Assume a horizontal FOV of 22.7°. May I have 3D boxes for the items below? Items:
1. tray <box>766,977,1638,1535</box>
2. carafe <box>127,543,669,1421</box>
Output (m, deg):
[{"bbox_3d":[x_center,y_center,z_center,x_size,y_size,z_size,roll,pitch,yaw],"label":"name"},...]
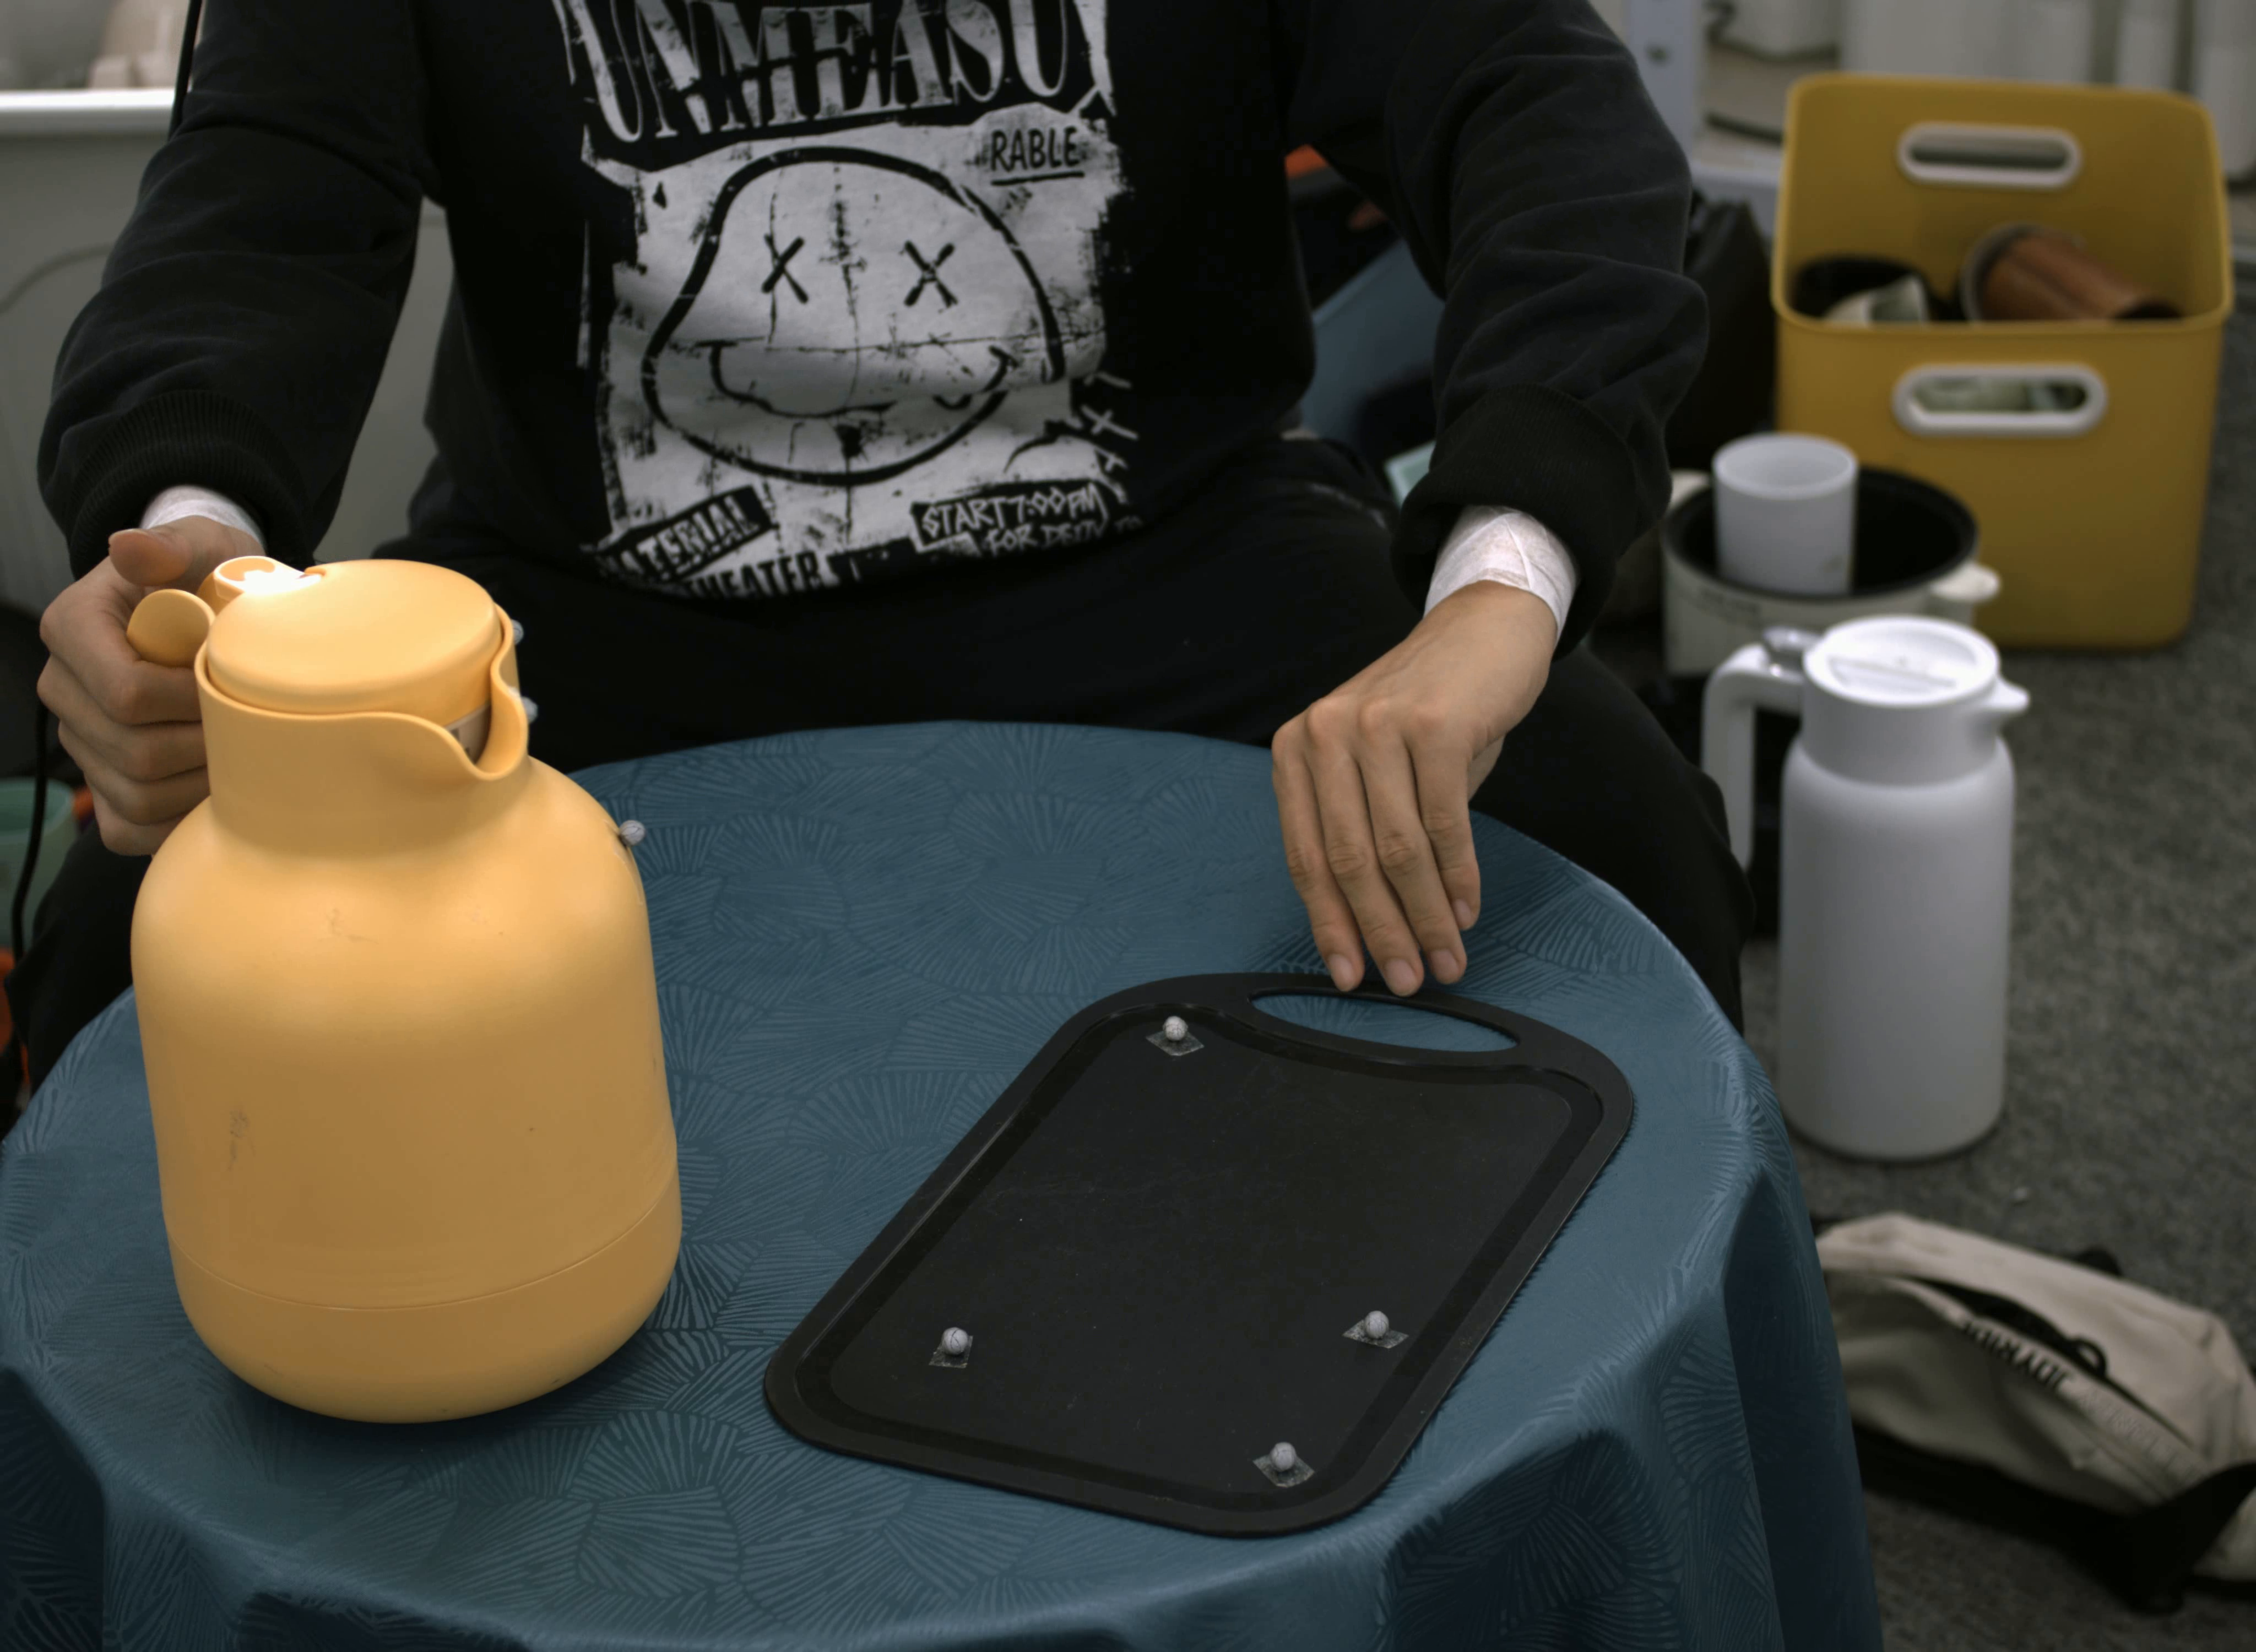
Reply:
[{"bbox_3d":[0.032,0.128,1.835,0.210,0.009,0.331,10,30,23],"label":"tray"},{"bbox_3d":[-0.240,0.038,1.762,0.165,0.257,0.202,-20,32,-35],"label":"carafe"}]
